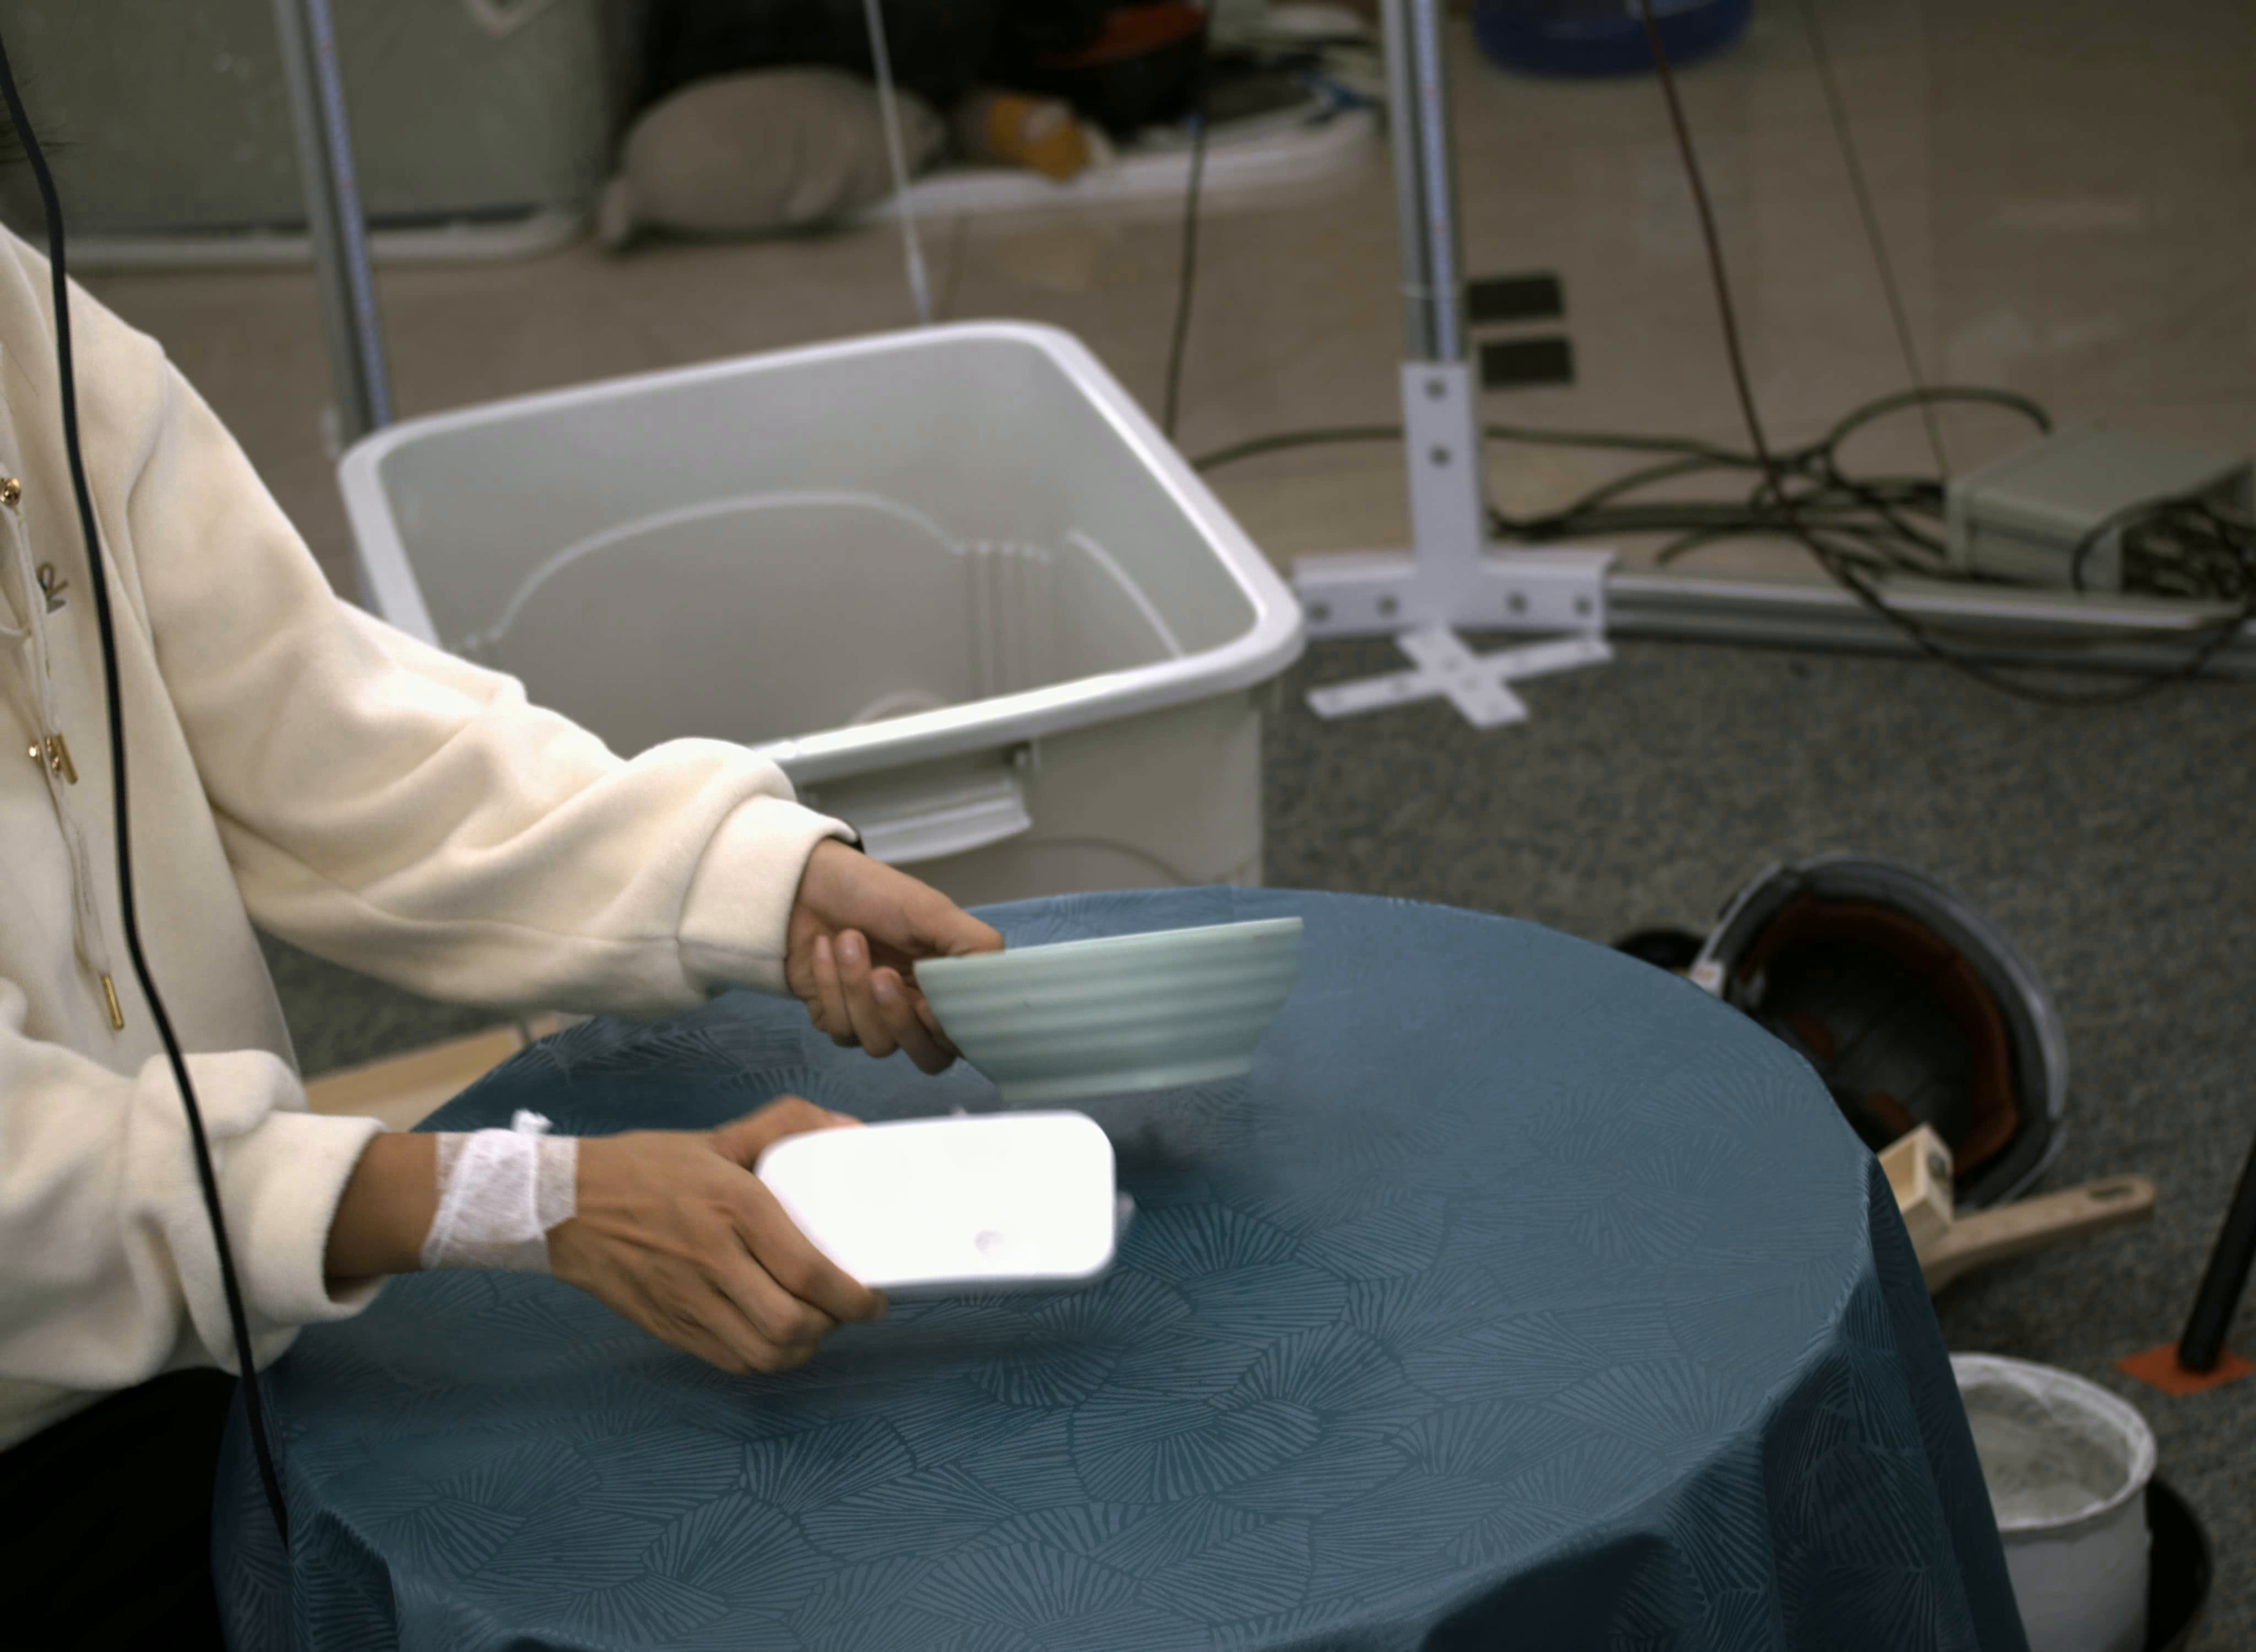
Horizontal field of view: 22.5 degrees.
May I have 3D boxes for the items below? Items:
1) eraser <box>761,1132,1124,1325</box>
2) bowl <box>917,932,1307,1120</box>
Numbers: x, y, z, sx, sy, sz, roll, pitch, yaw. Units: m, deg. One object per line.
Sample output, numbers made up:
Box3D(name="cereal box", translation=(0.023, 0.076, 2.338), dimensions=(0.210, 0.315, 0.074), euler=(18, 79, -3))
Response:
Box3D(name="eraser", translation=(-0.066, 0.145, 2.037), dimensions=(0.131, 0.035, 0.062), euler=(-2, 63, 7))
Box3D(name="bowl", translation=(-0.002, 0.077, 2.156), dimensions=(0.151, 0.059, 0.151), euler=(-7, 0, 0))
